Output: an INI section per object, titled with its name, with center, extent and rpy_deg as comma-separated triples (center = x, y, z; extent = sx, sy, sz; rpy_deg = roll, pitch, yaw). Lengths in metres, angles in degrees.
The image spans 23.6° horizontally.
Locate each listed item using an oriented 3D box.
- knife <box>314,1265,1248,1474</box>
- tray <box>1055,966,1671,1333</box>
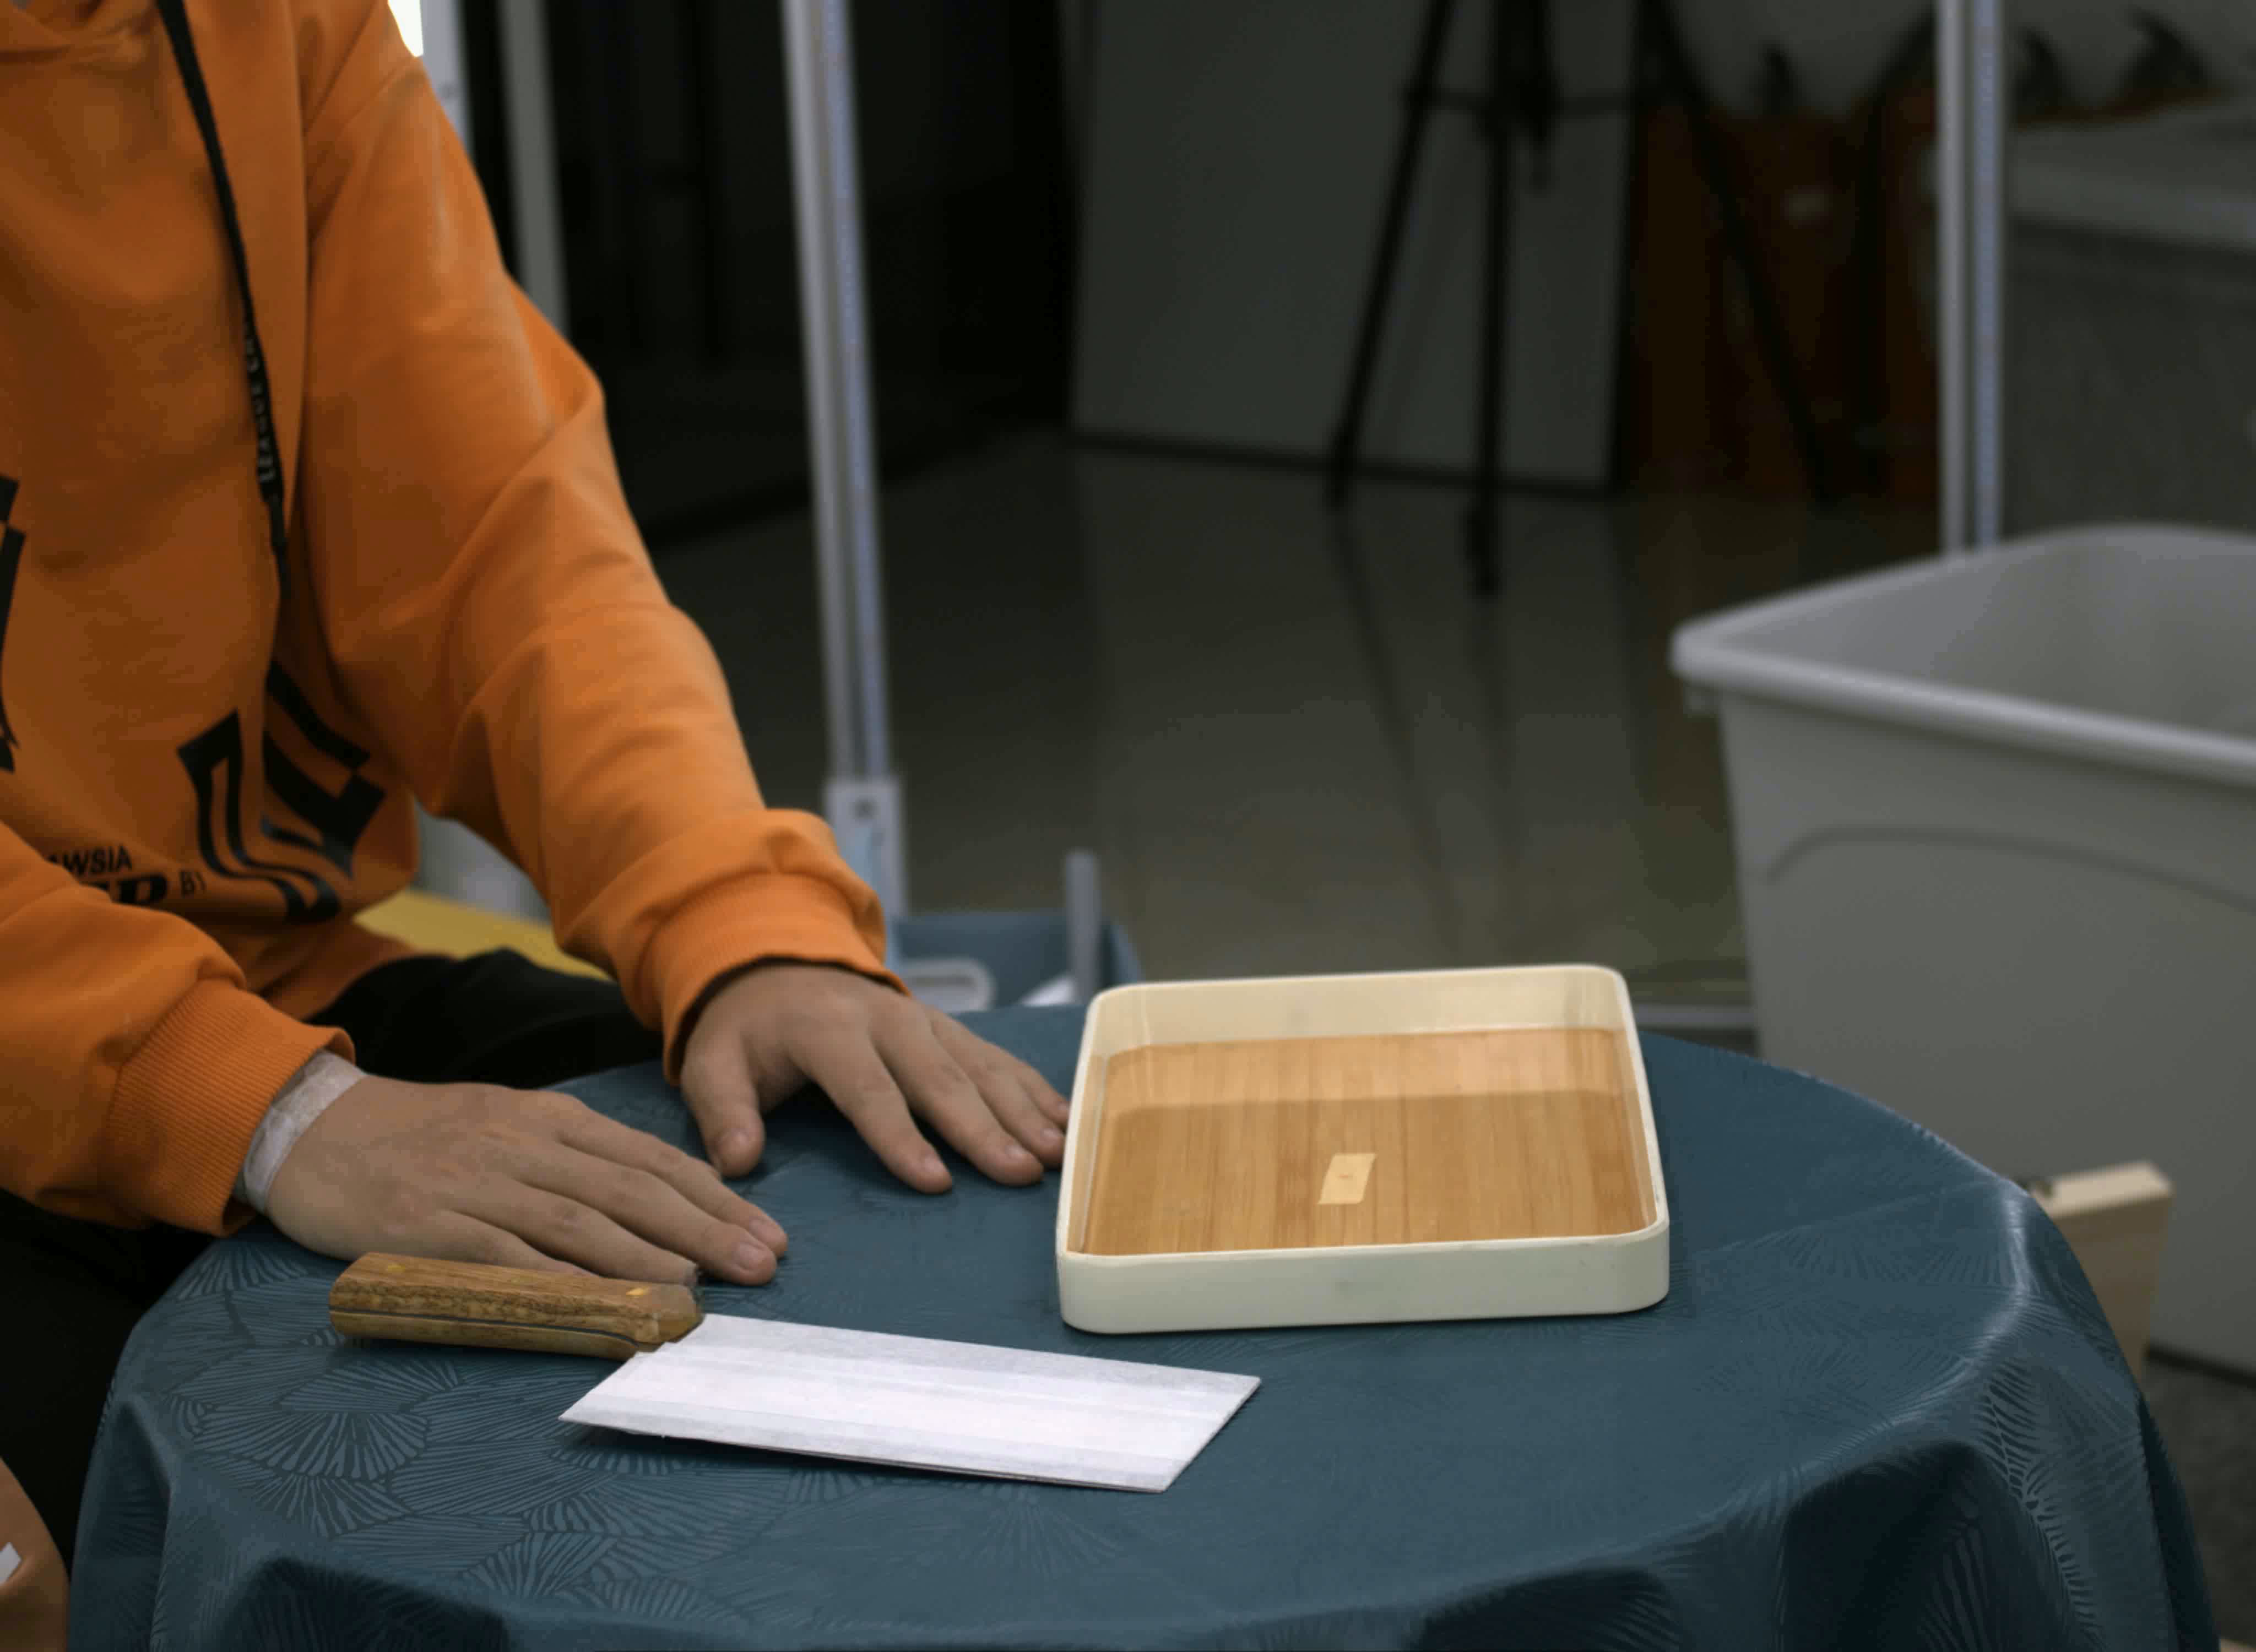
[knife]
center = -0.115, 0.164, 1.600
extent = 0.305, 0.021, 0.092
rpy_deg = 4, 17, 22
[tray]
center = 0.077, 0.102, 1.766
extent = 0.189, 0.028, 0.300
rpy_deg = -3, 14, 4
